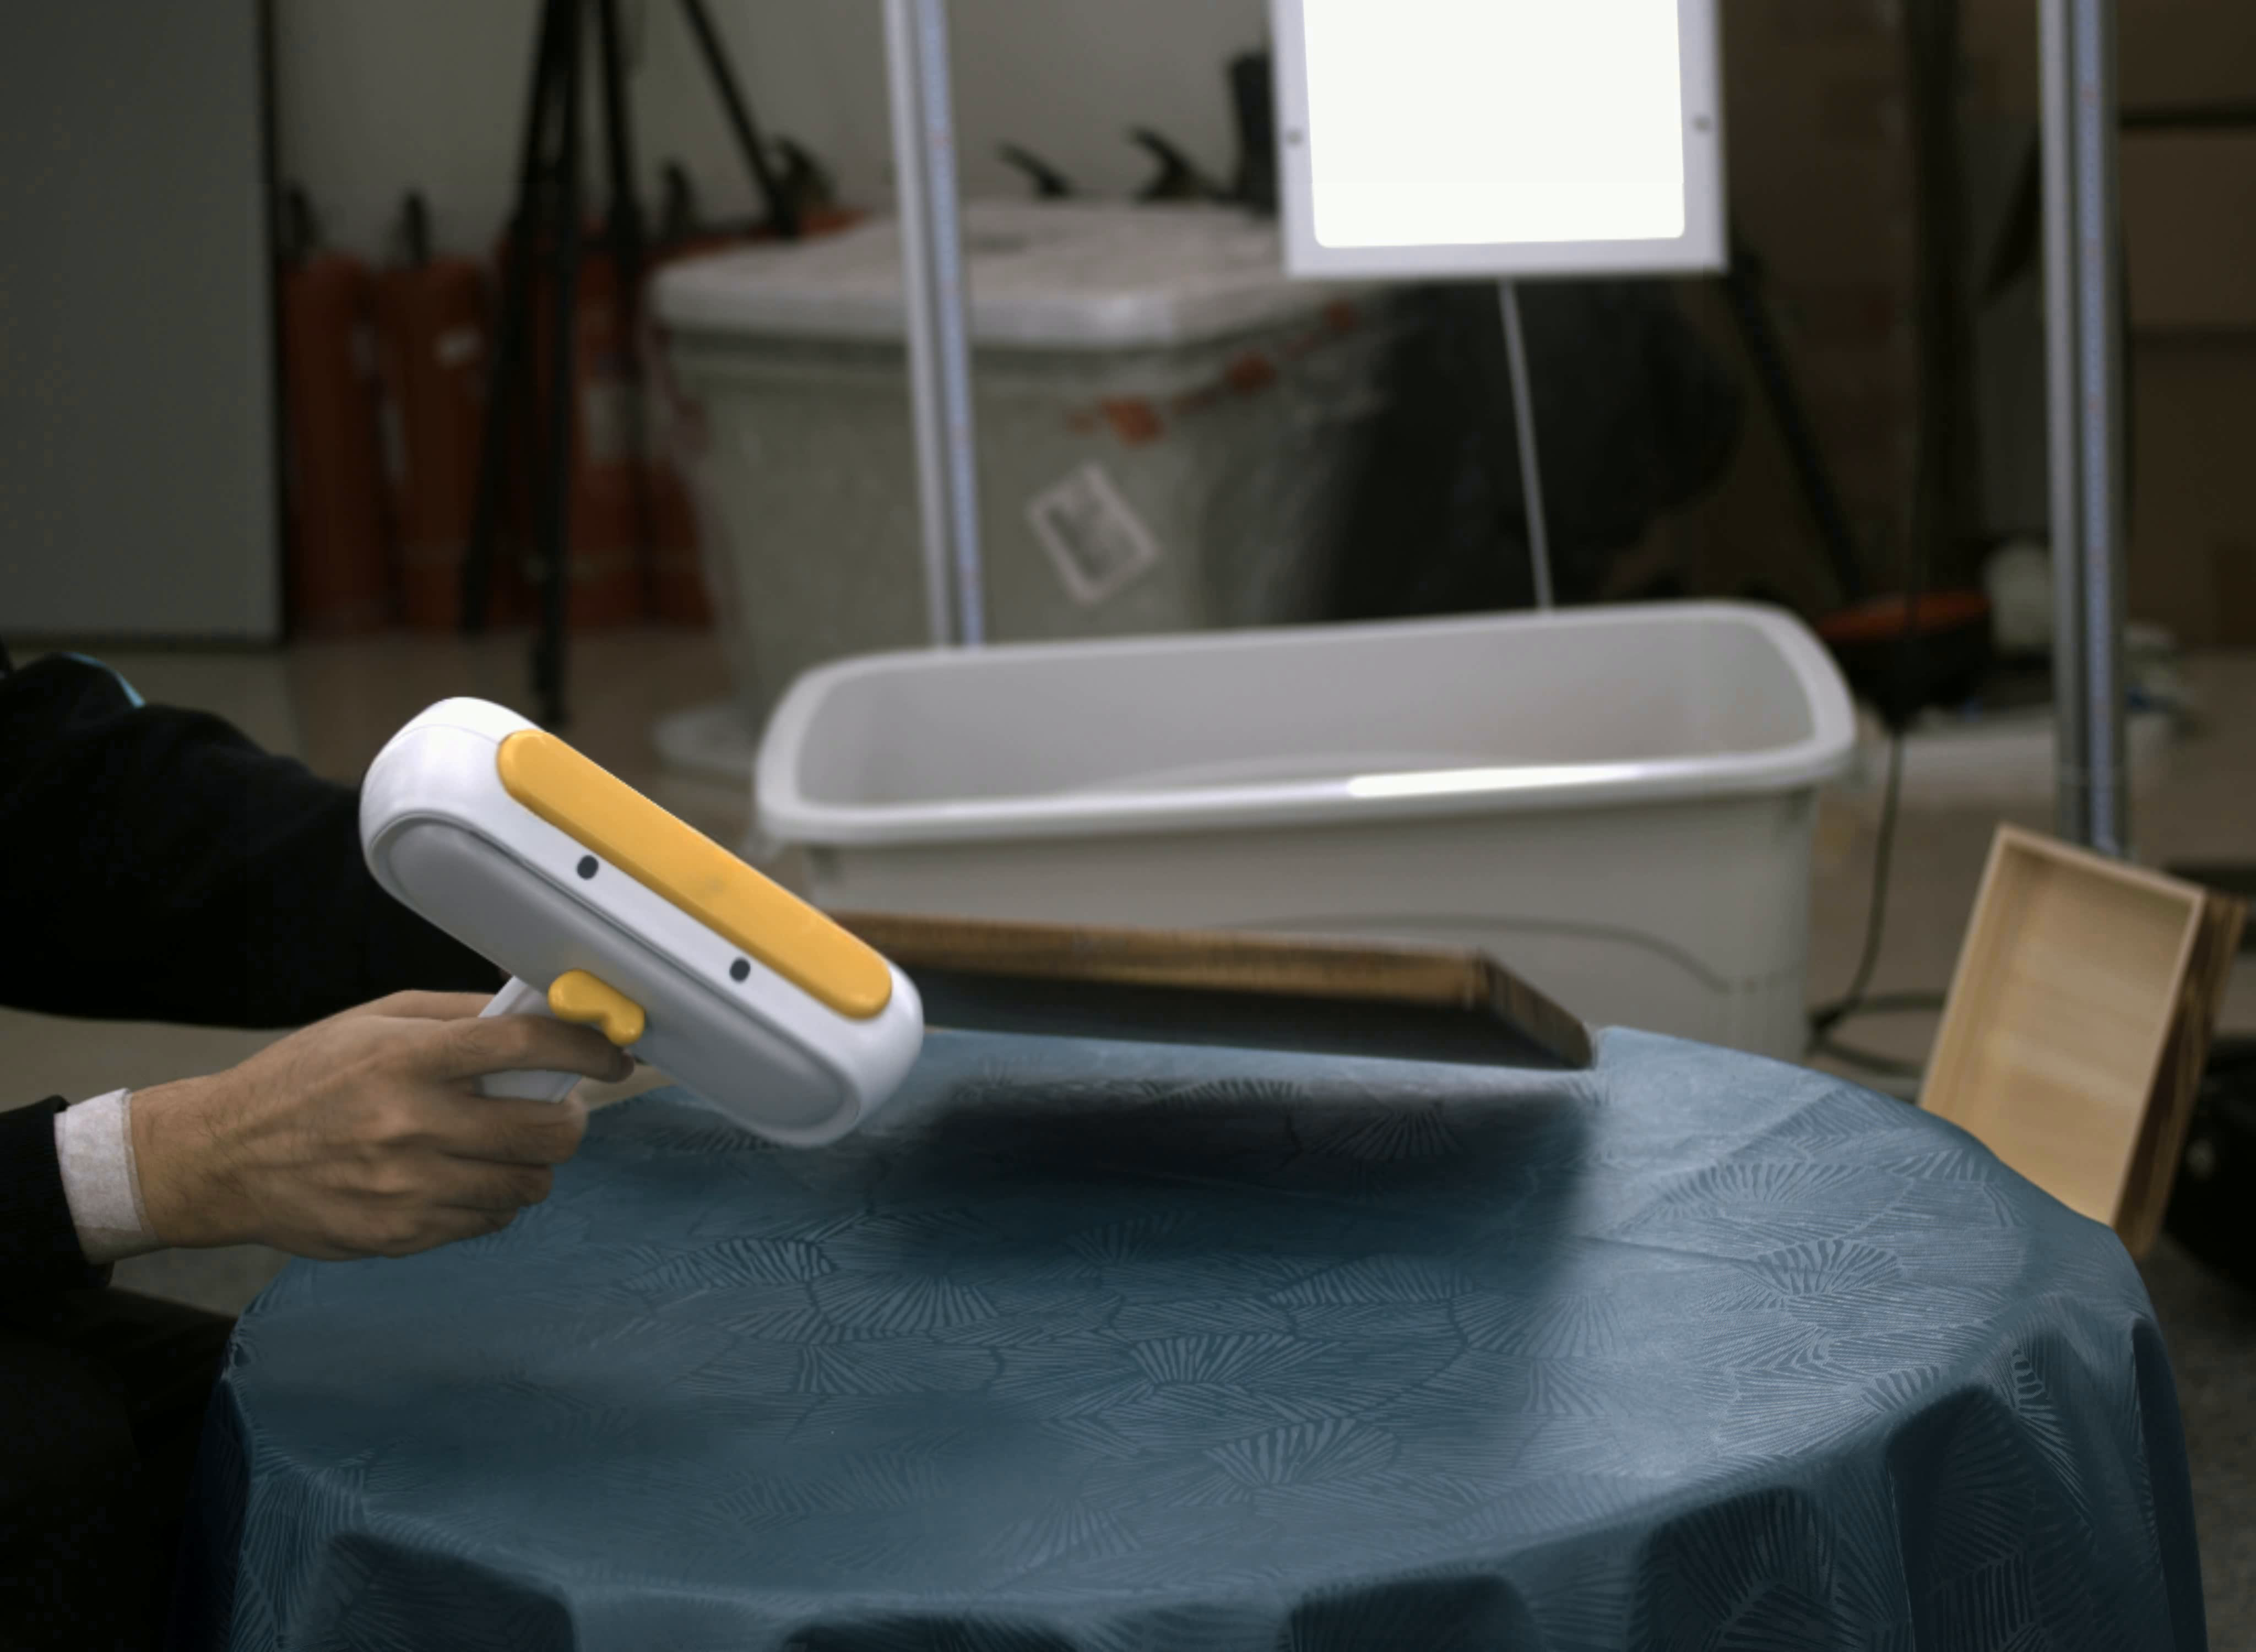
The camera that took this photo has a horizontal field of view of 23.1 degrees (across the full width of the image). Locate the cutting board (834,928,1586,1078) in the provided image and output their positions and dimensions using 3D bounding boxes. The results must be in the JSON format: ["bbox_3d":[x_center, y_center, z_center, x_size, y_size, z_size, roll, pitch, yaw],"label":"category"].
[{"bbox_3d":[-0.024,0.059,1.935,0.356,0.023,0.198,4,-6,17],"label":"cutting board"}]

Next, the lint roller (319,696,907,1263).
[{"bbox_3d":[-0.188,0.065,1.738,0.190,0.196,0.073,26,44,-16],"label":"lint roller"}]
